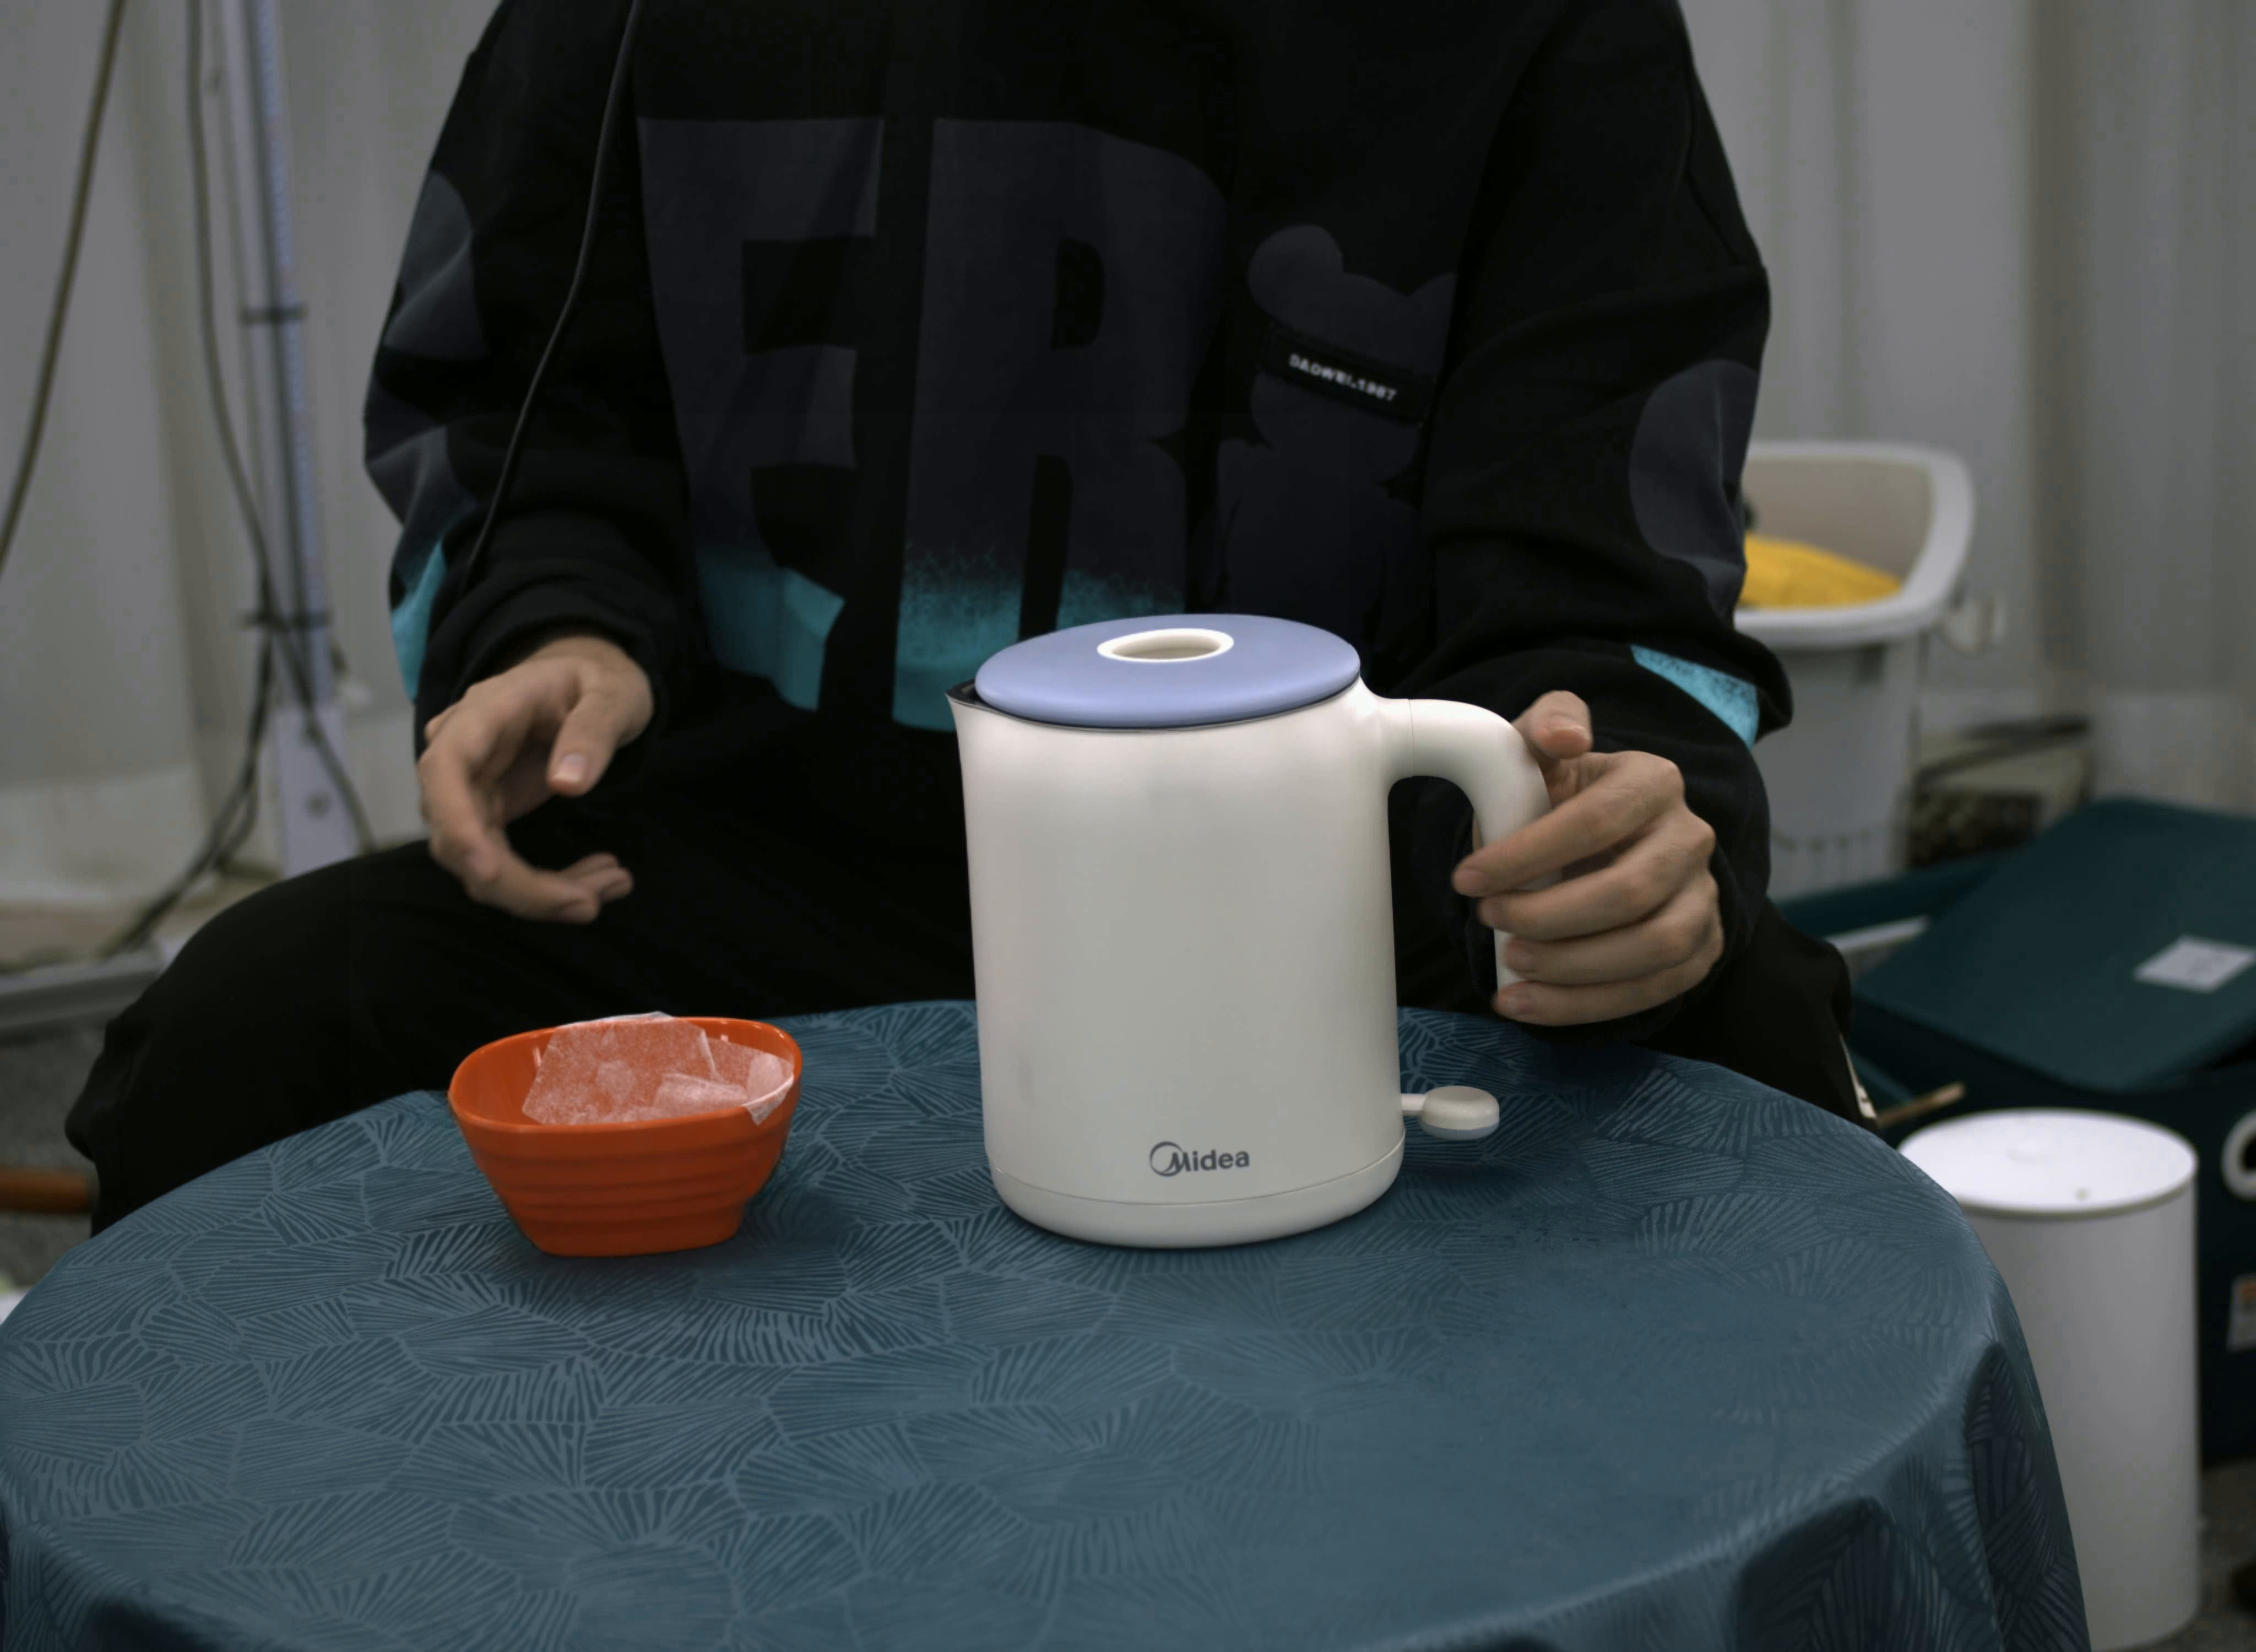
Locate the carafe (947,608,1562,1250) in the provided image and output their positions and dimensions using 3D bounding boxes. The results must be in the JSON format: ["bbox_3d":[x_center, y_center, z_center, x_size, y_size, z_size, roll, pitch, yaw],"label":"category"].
[{"bbox_3d":[0.040,0.030,1.696,0.190,0.182,0.133,-1,15,-3],"label":"carafe"}]

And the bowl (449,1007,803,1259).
[{"bbox_3d":[-0.154,0.098,1.704,0.118,0.051,0.120,-4,17,1],"label":"bowl"}]
